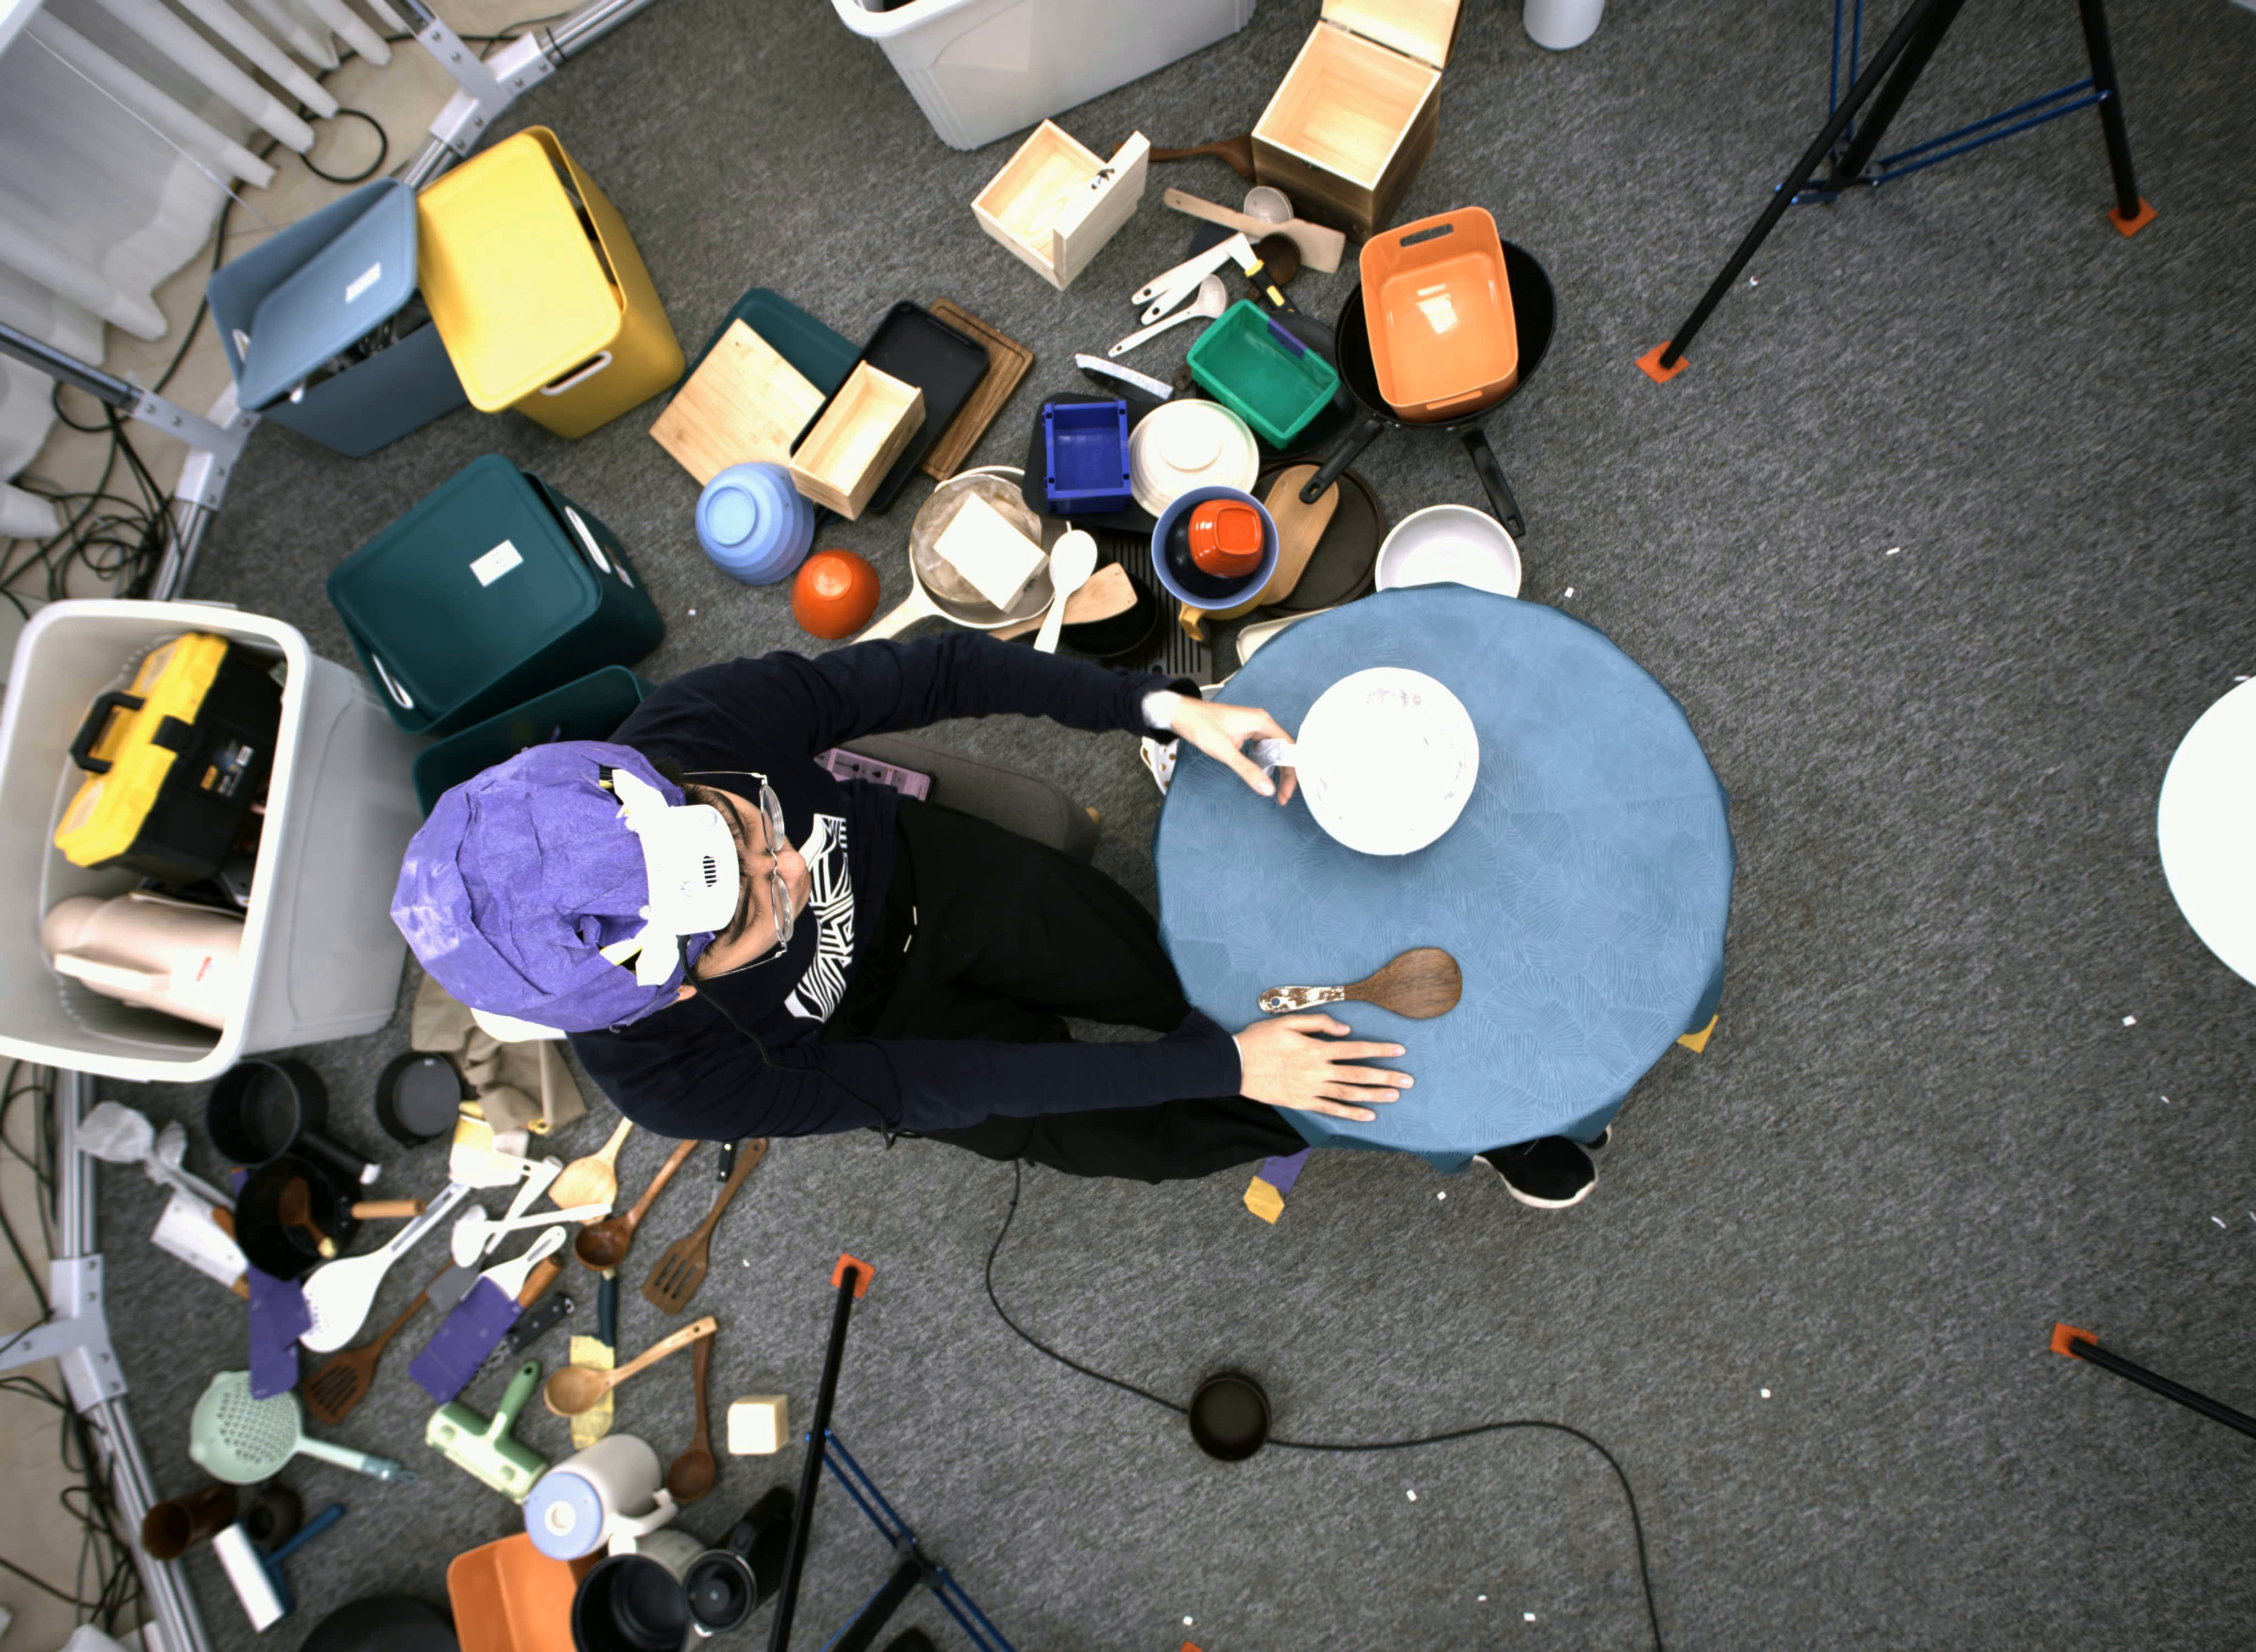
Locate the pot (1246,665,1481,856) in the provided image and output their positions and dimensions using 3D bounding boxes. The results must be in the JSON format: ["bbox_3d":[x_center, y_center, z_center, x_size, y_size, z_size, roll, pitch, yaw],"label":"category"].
[{"bbox_3d":[0.235,-0.064,1.403,0.234,0.137,0.177,3,84,9],"label":"pot"}]

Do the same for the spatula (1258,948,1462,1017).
[{"bbox_3d":[0.243,0.171,1.458,0.217,0.009,0.071,-8,84,11],"label":"spatula"}]
